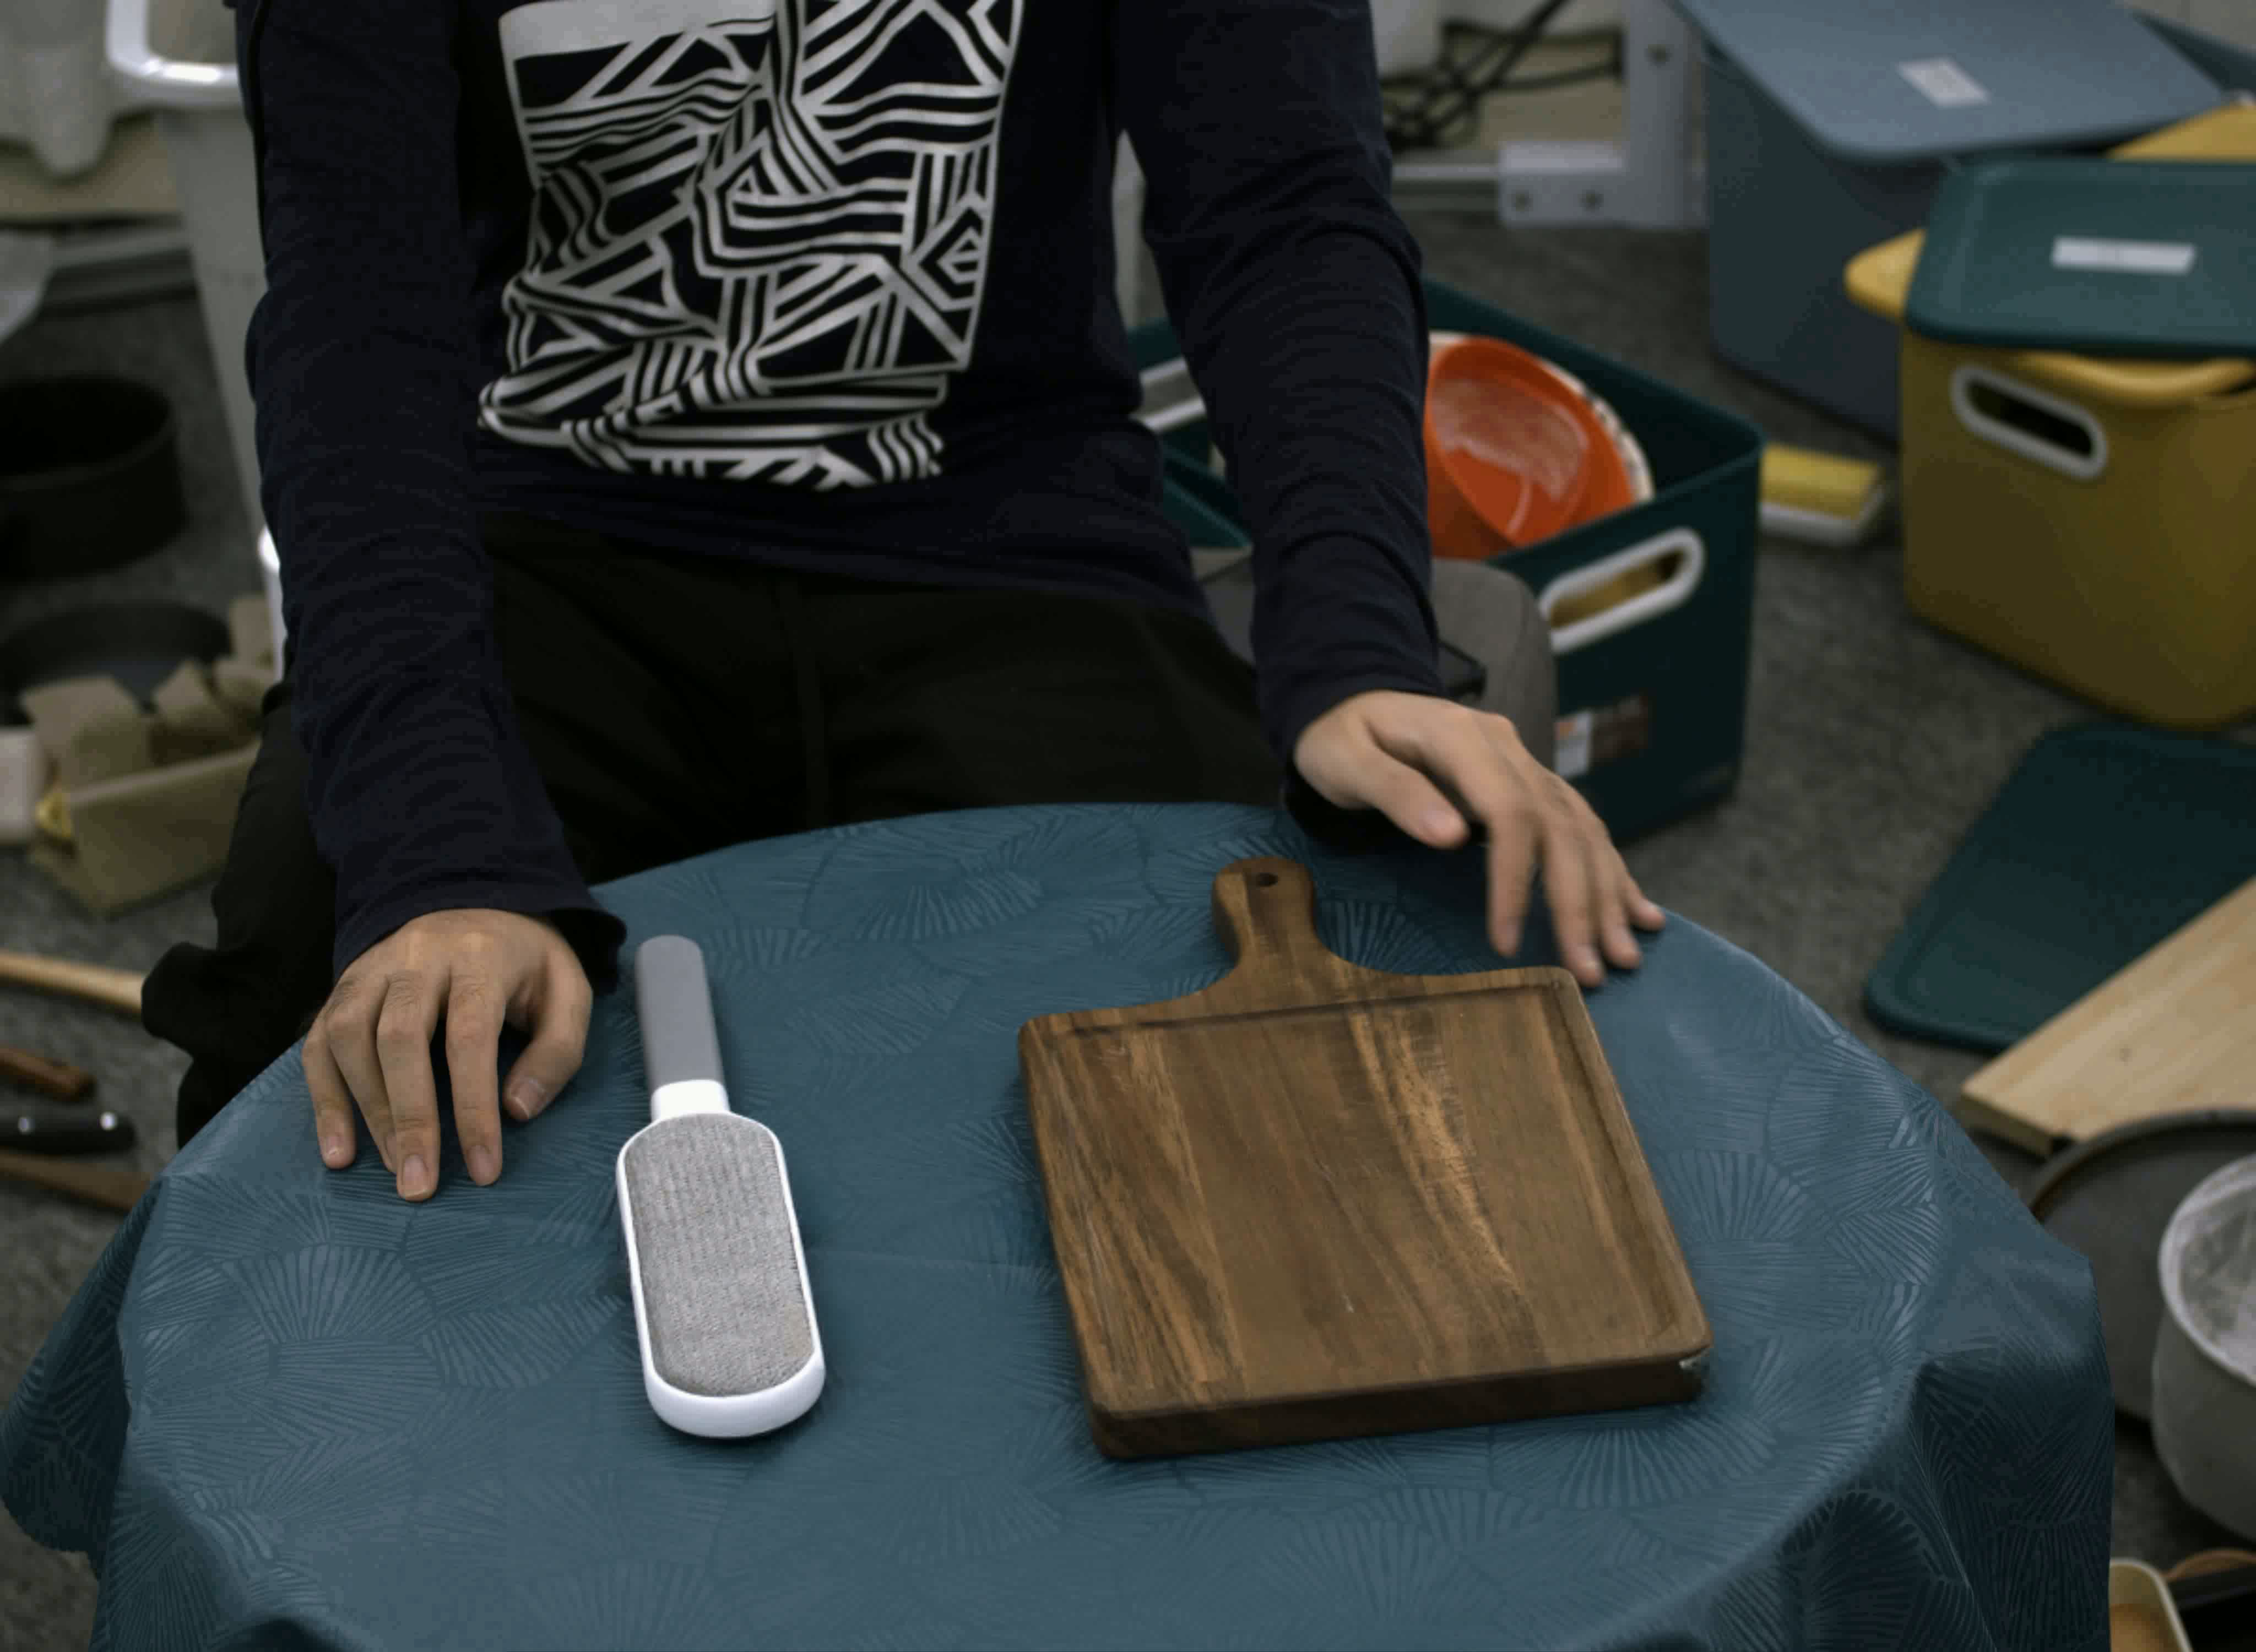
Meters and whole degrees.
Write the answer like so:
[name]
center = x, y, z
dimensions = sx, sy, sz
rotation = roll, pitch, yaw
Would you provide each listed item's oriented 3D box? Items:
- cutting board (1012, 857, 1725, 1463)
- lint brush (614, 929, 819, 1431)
[cutting board]
center = 0.066, 0.099, 1.878
dimensions = 0.200, 0.023, 0.357
rotation = -5, 27, -5
[lint brush]
center = -0.141, 0.112, 1.864
dimensions = 0.060, 0.021, 0.313
rotation = -11, 28, -4
